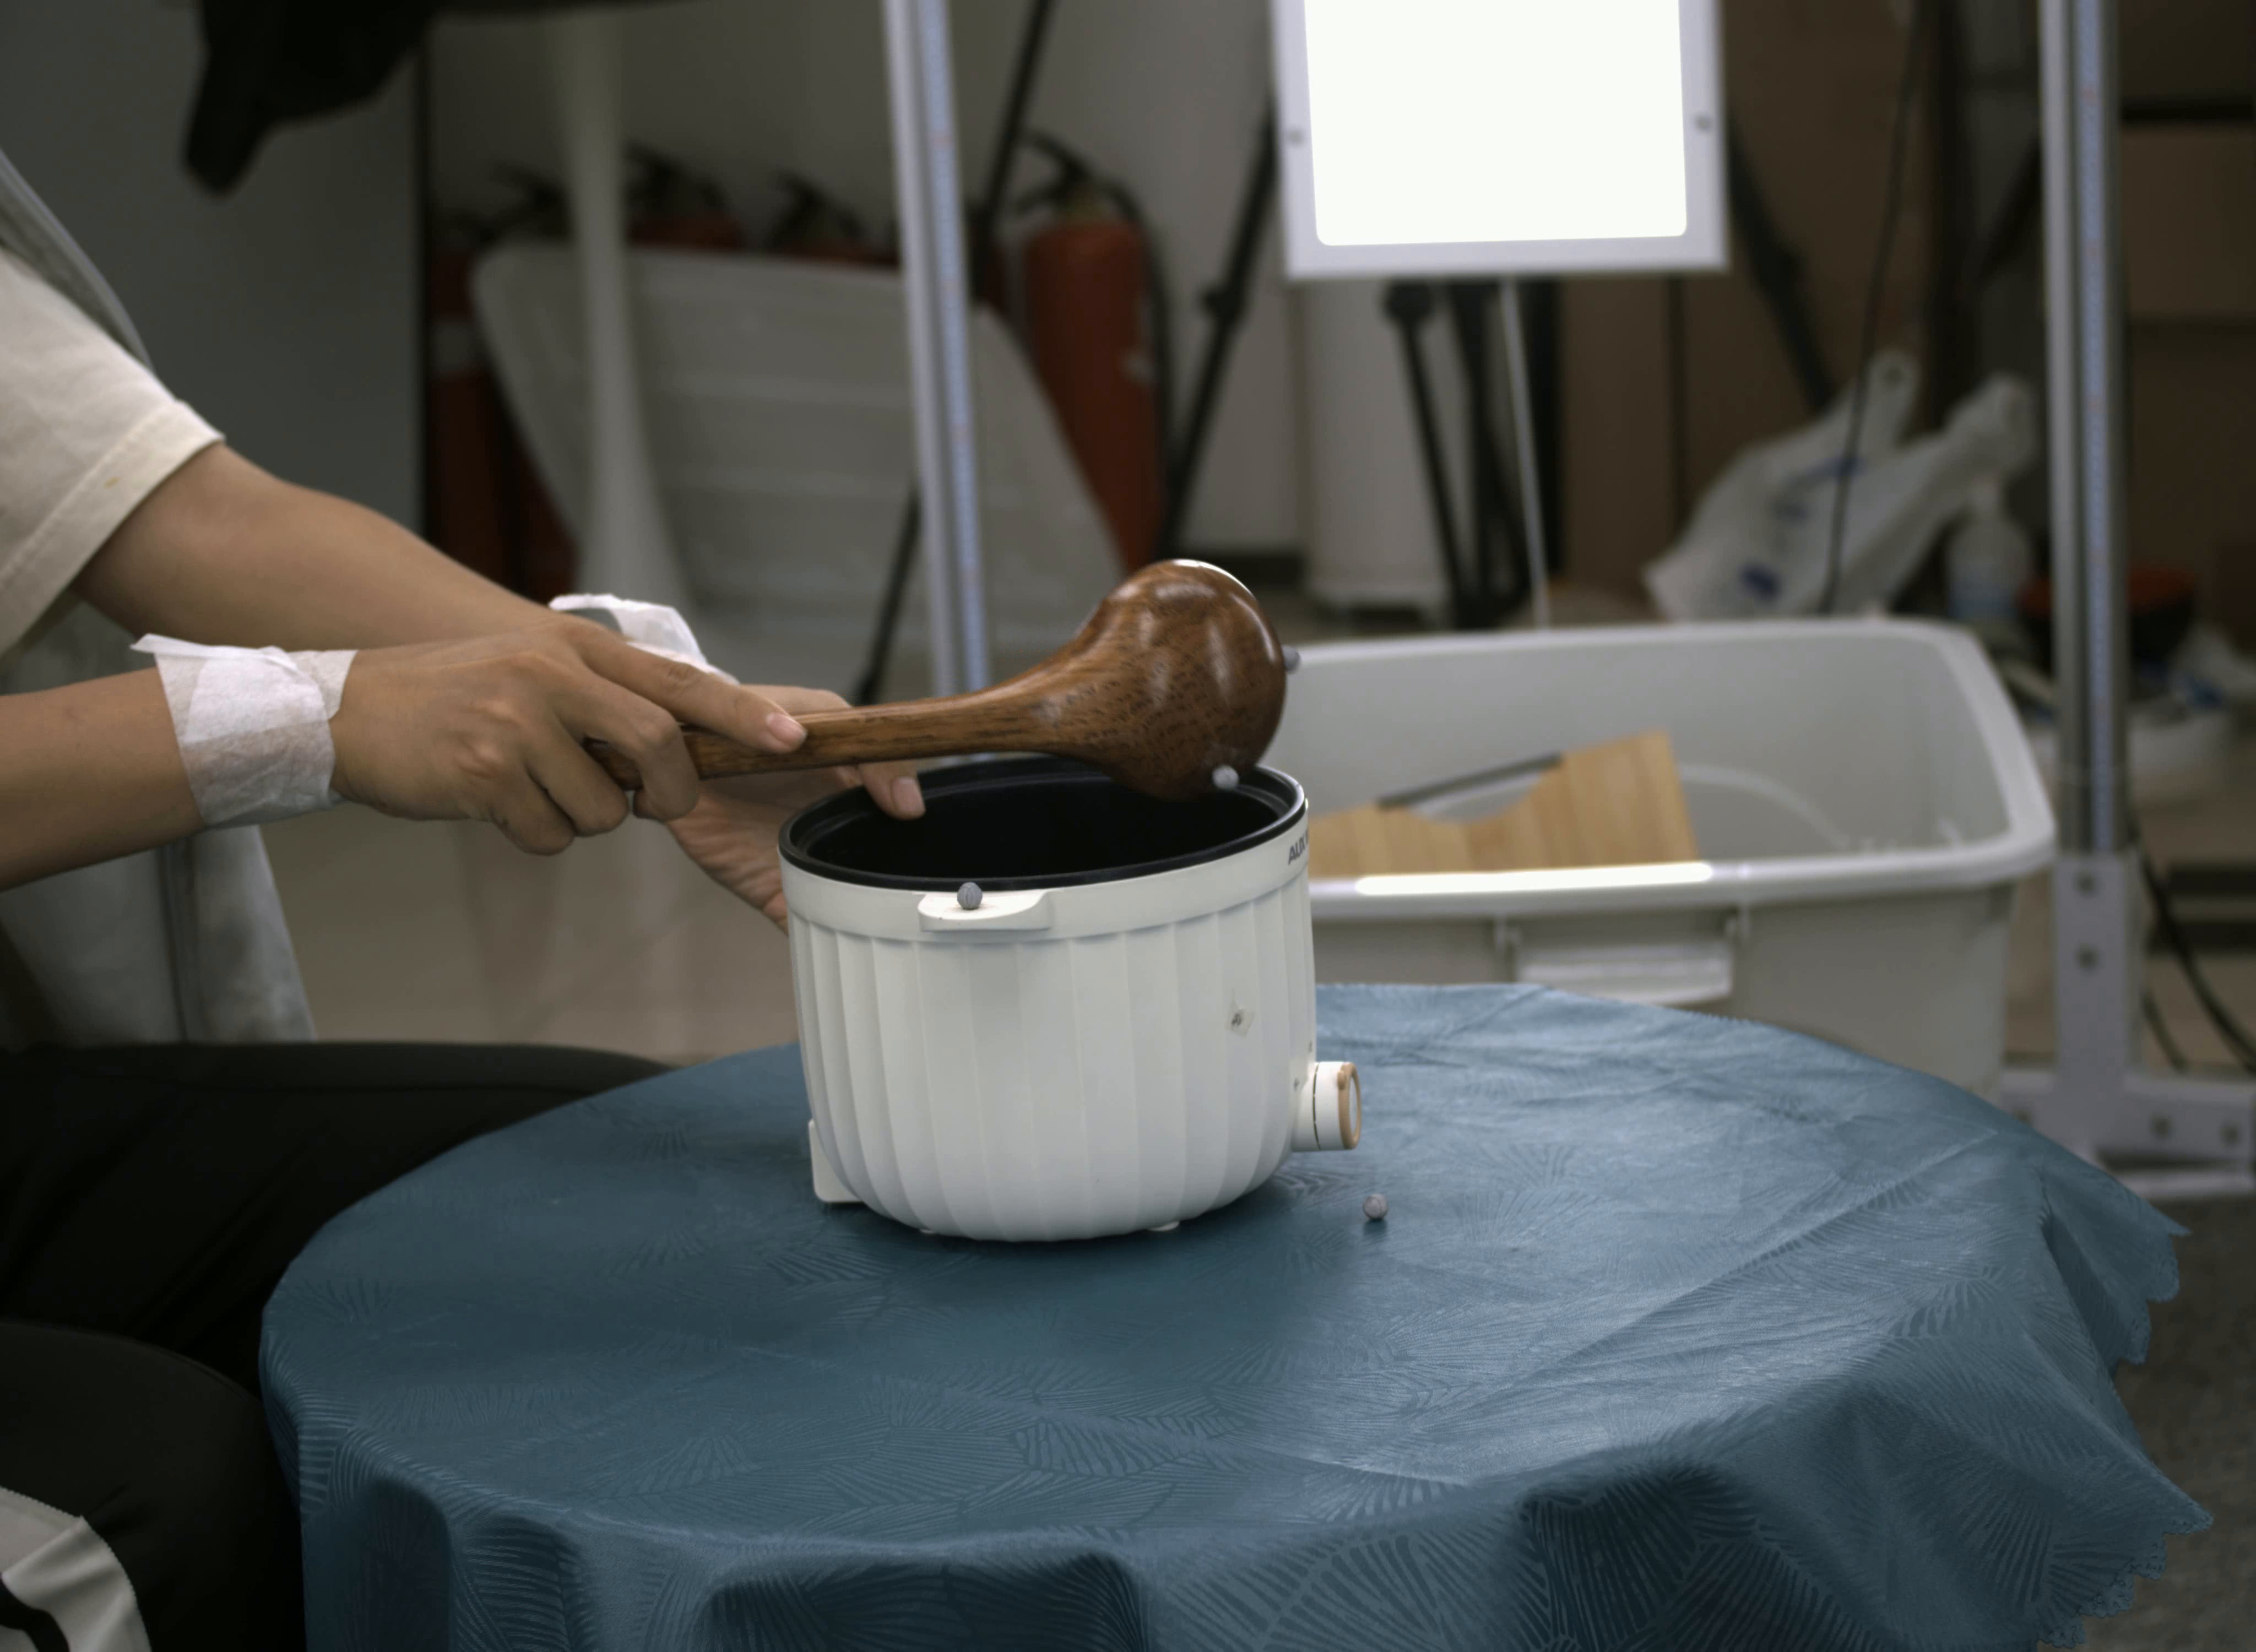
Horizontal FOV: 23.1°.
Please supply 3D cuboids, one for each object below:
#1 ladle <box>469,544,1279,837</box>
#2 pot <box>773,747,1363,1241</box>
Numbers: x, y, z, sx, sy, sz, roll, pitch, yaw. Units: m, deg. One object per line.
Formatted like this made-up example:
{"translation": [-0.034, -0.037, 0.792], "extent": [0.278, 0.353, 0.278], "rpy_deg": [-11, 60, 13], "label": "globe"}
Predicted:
{"translation": [-0.085, -0.037, 1.864], "extent": [0.277, 0.082, 0.075], "rpy_deg": [-9, 4, 16], "label": "ladle"}
{"translation": [-0.019, 0.059, 1.888], "extent": [0.192, 0.143, 0.237], "rpy_deg": [-5, 14, 13], "label": "pot"}
